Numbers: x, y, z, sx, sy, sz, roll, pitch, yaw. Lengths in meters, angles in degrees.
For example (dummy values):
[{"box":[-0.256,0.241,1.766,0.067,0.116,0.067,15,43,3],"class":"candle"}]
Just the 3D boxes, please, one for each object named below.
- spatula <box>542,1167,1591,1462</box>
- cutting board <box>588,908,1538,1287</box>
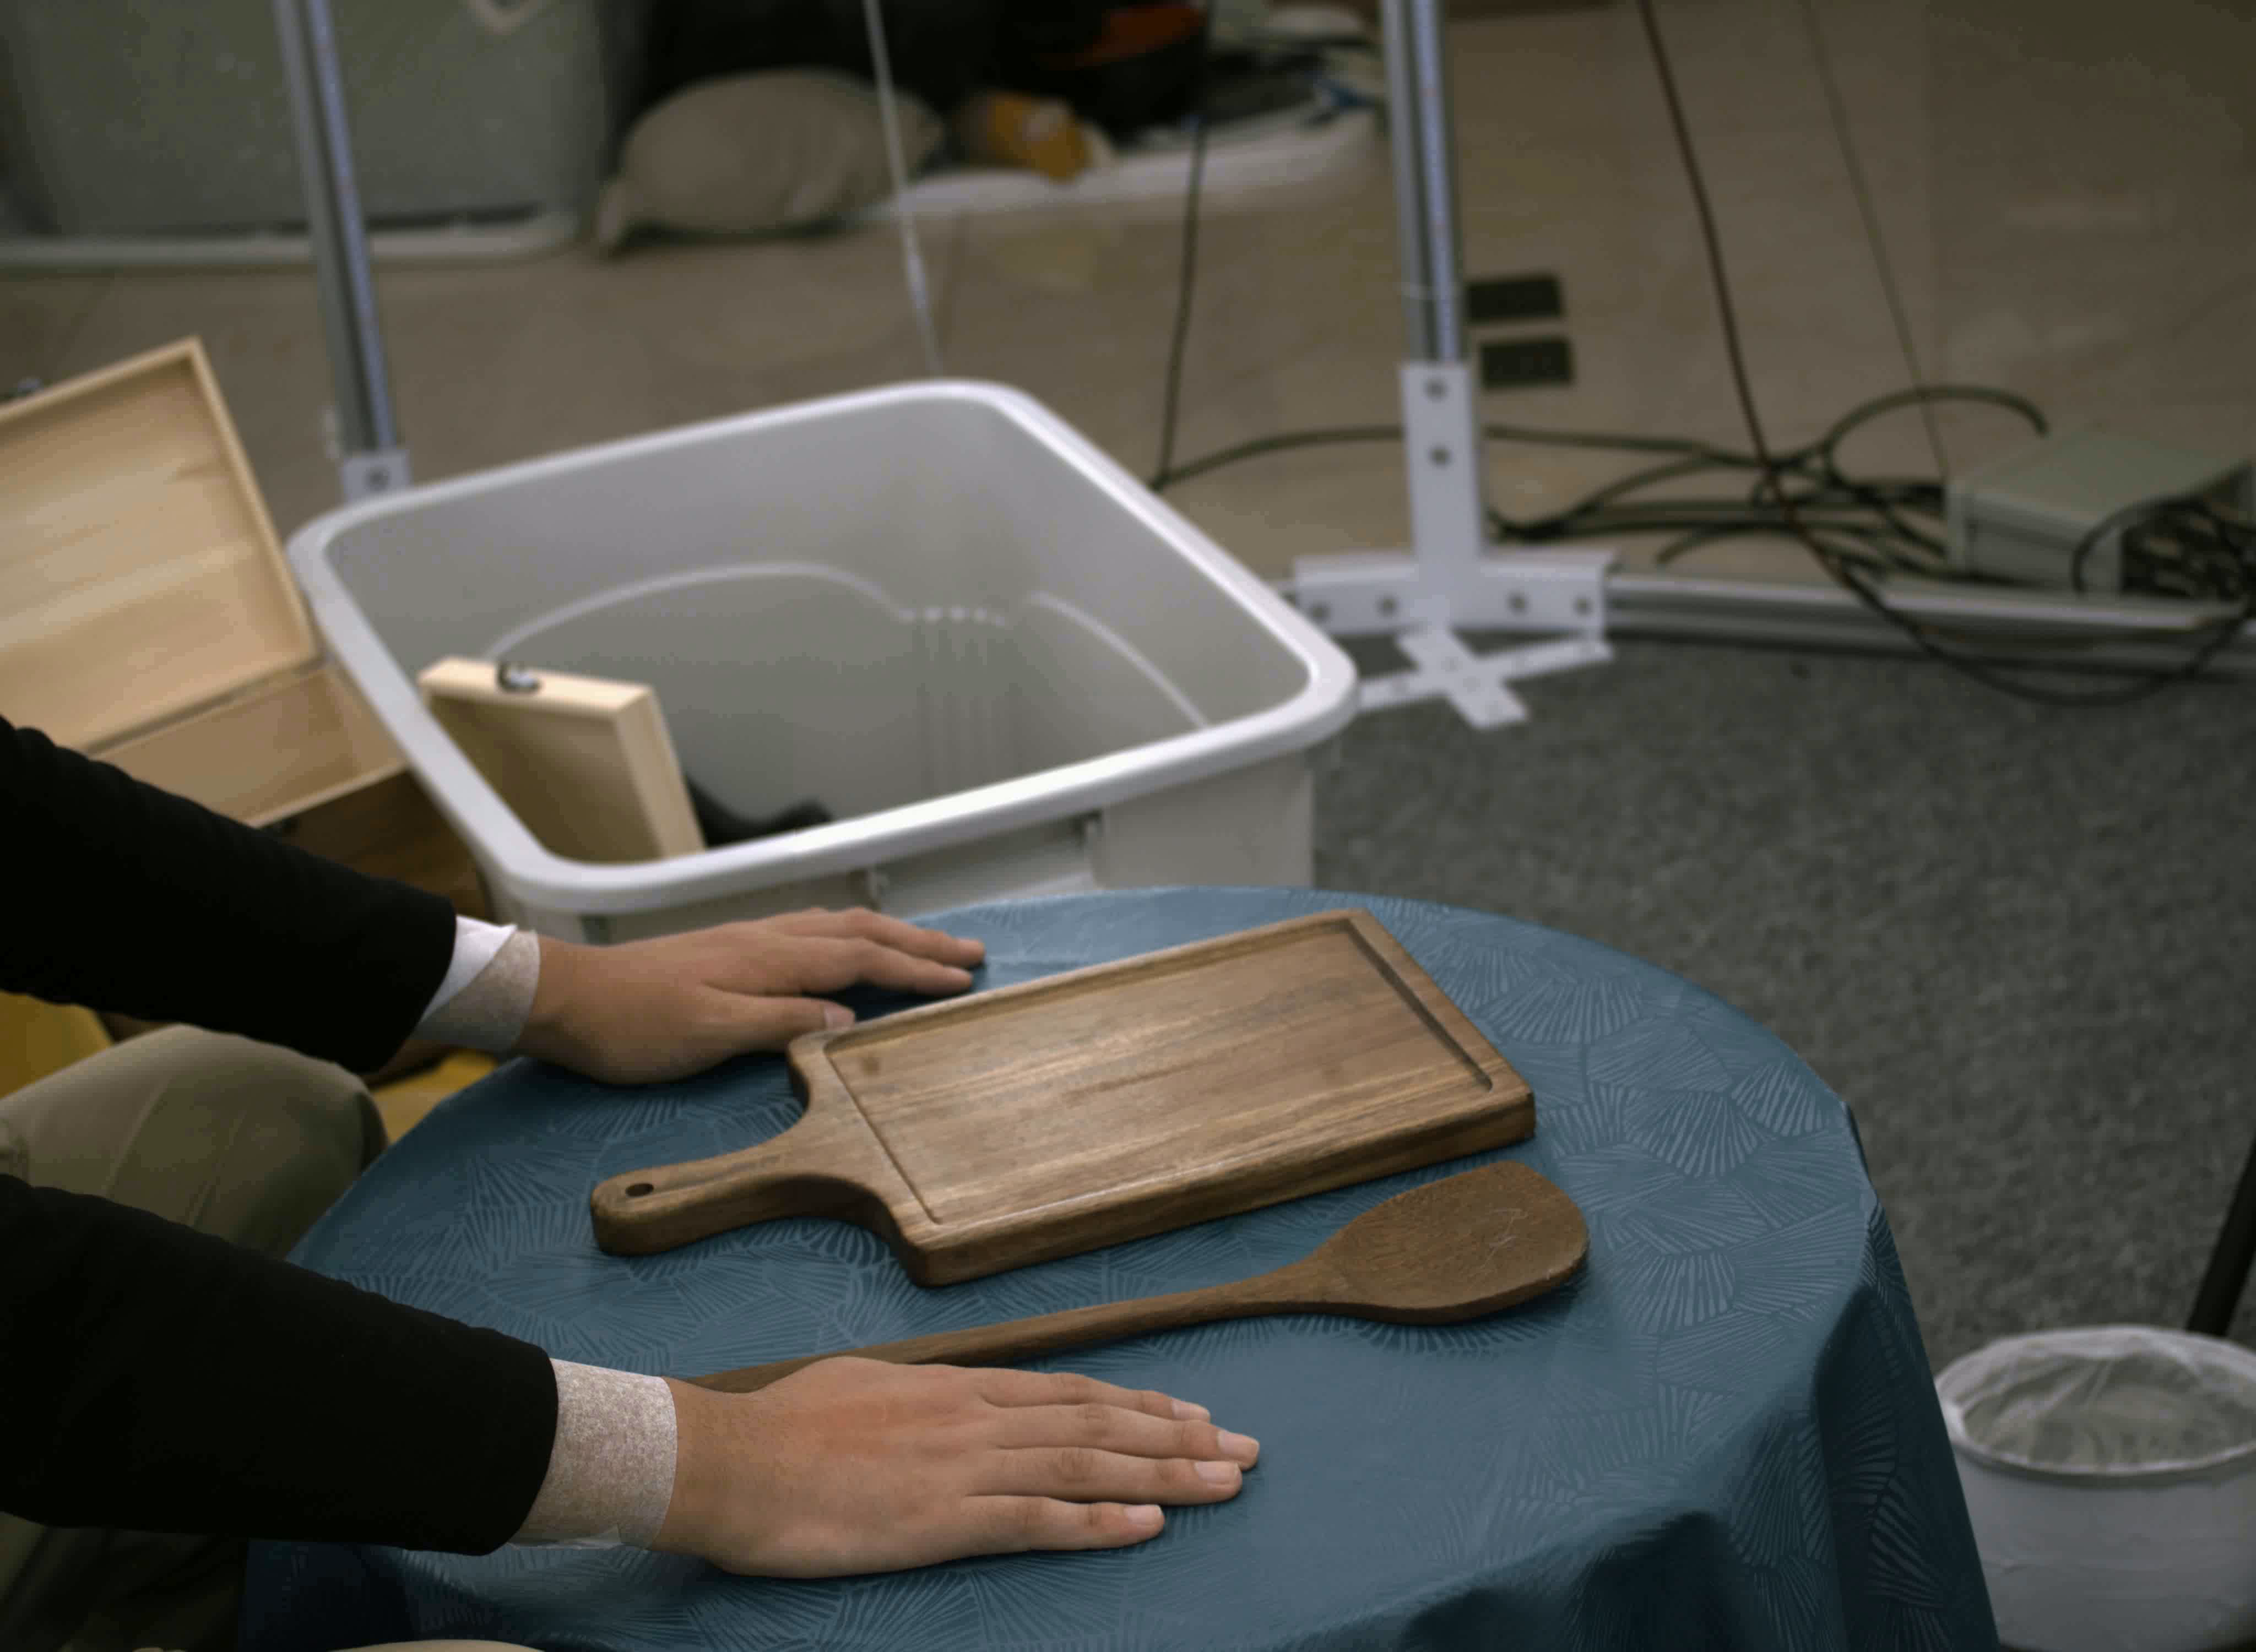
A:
[{"box":[-0.022,0.181,2.045,0.385,0.016,0.095,-11,25,-9],"class":"spatula"},{"box":[-0.038,0.112,2.191,0.351,0.023,0.198,-13,25,-14],"class":"cutting board"}]
